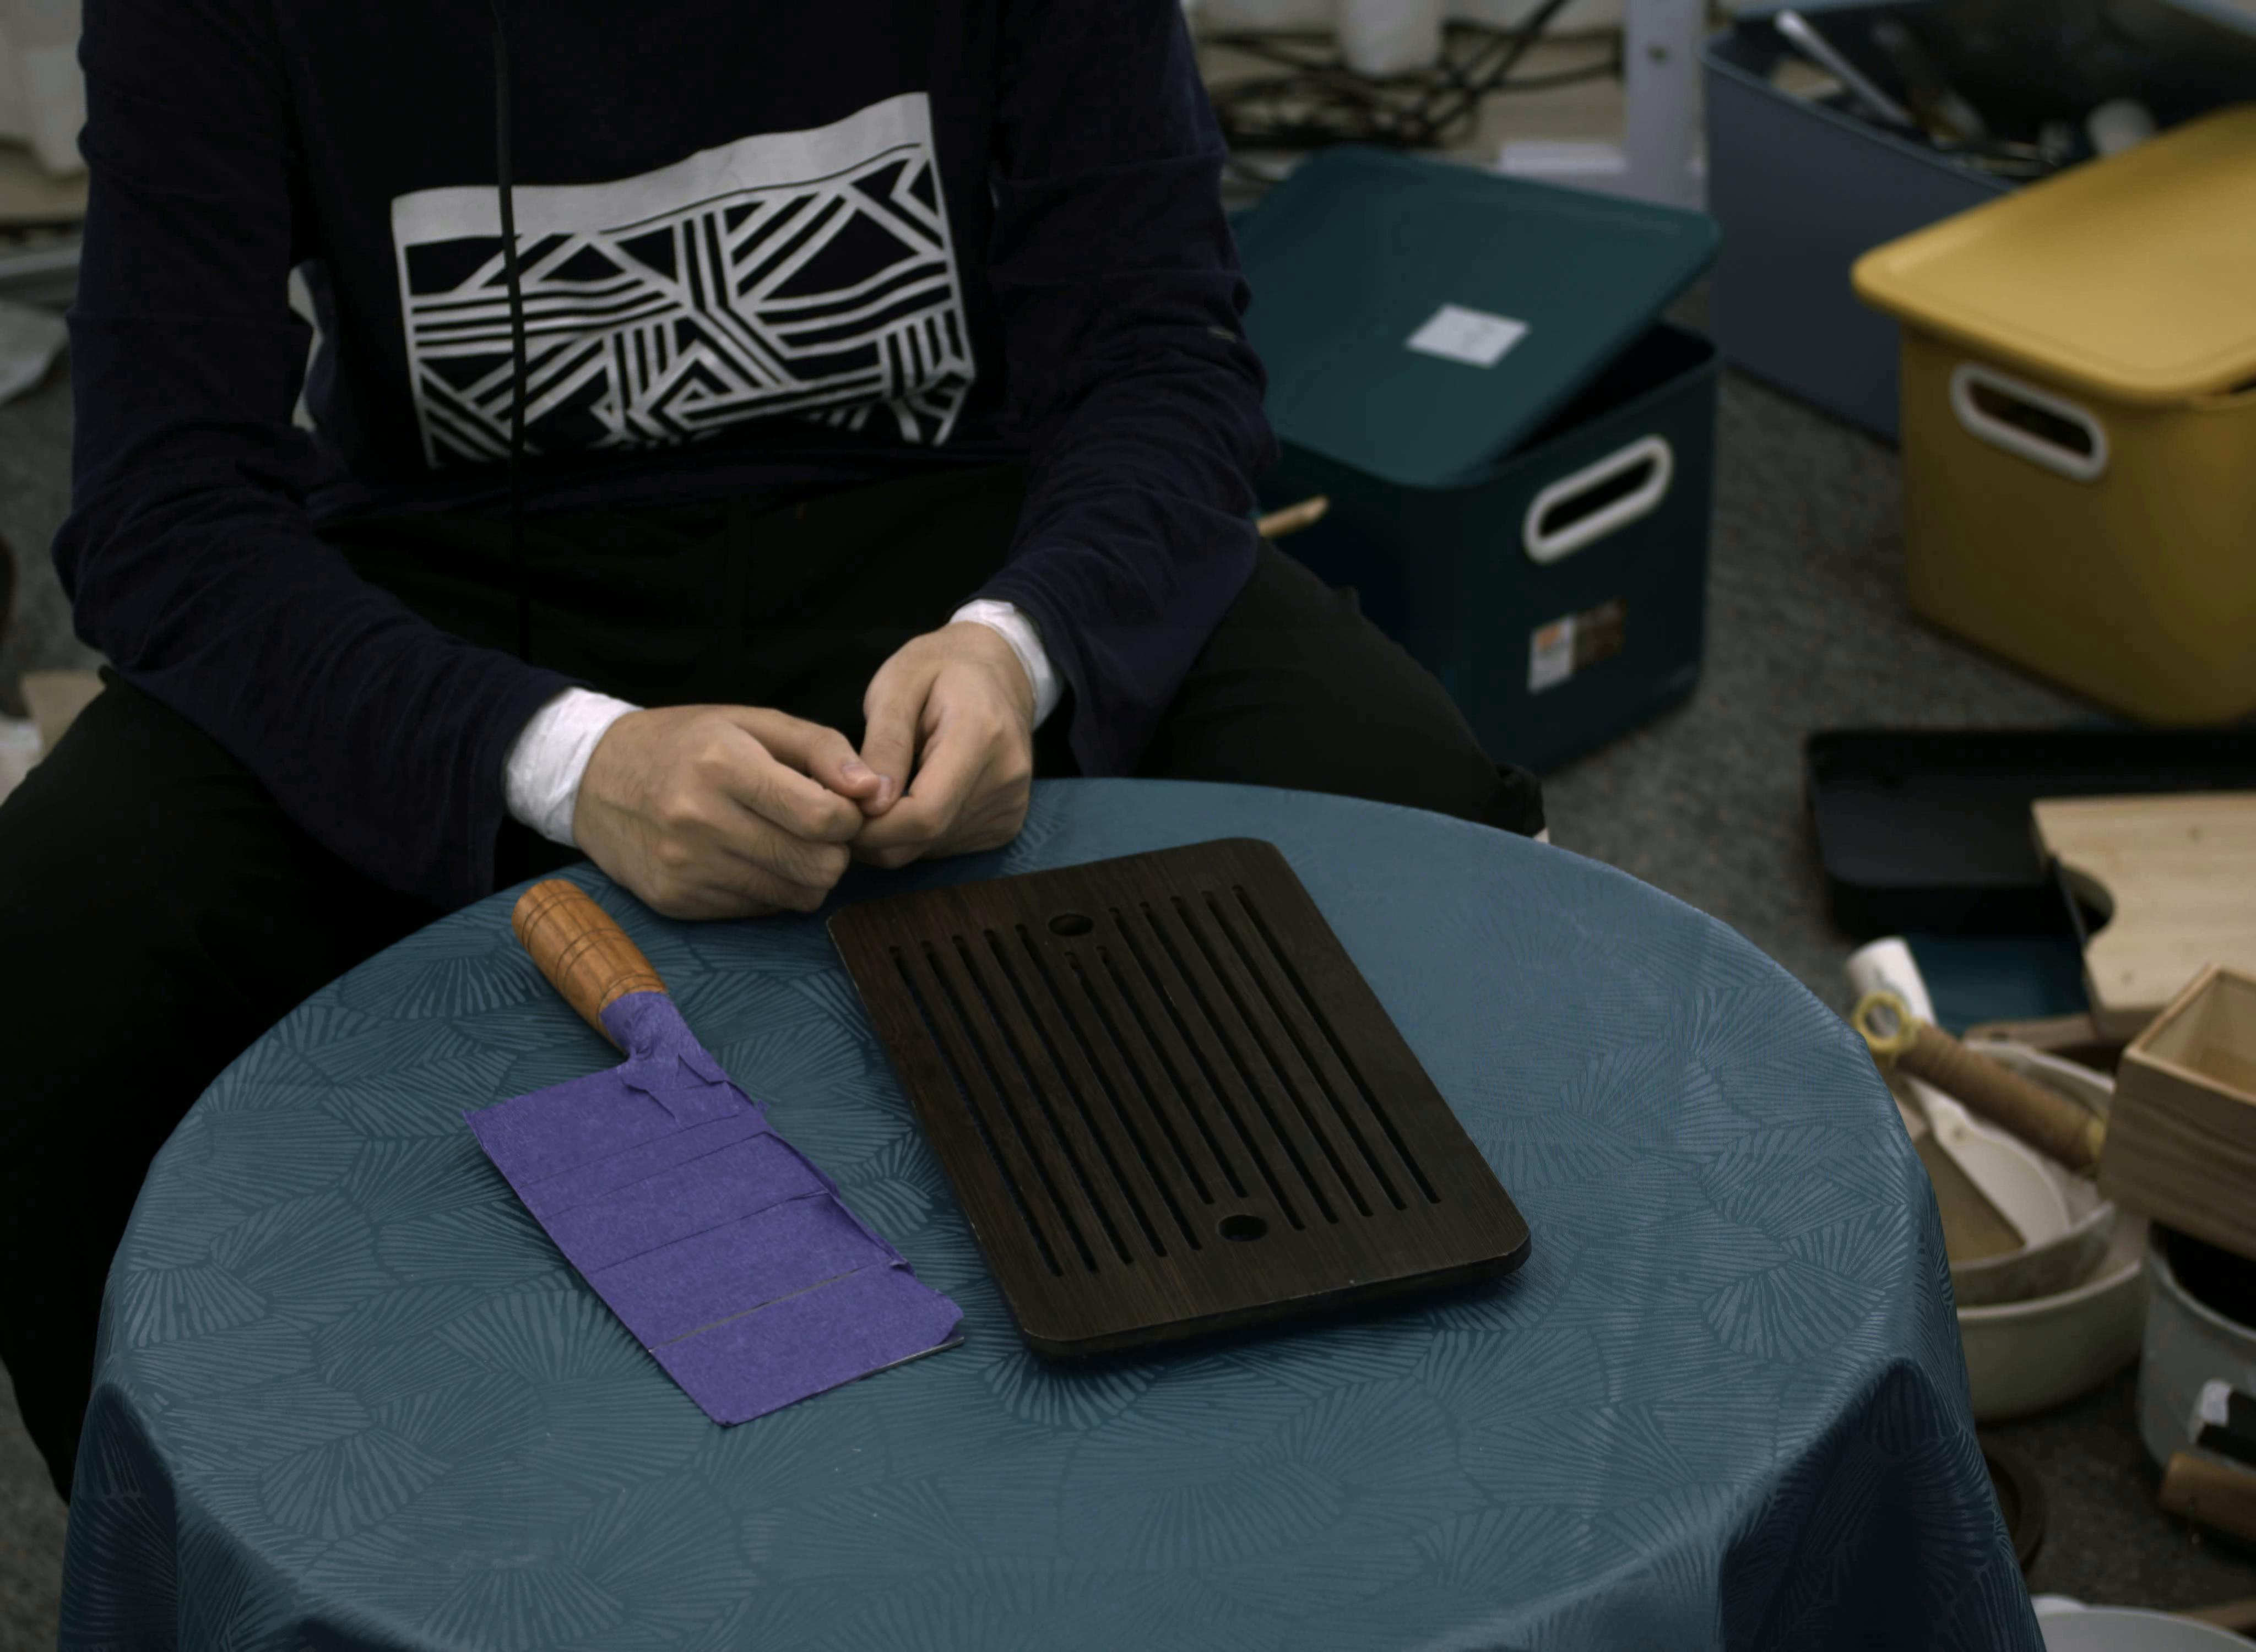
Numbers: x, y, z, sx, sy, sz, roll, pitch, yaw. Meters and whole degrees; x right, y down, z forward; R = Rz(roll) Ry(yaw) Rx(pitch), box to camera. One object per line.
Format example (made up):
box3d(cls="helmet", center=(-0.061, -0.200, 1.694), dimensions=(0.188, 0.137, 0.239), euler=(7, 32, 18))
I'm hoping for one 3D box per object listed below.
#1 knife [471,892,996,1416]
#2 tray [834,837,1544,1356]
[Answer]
box3d(cls="knife", center=(-0.162, 0.106, 1.879), dimensions=(0.104, 0.032, 0.317), euler=(-16, 31, -25))
box3d(cls="tray", center=(0.014, 0.088, 1.905), dimensions=(0.170, 0.018, 0.309), euler=(-10, 28, -13))
